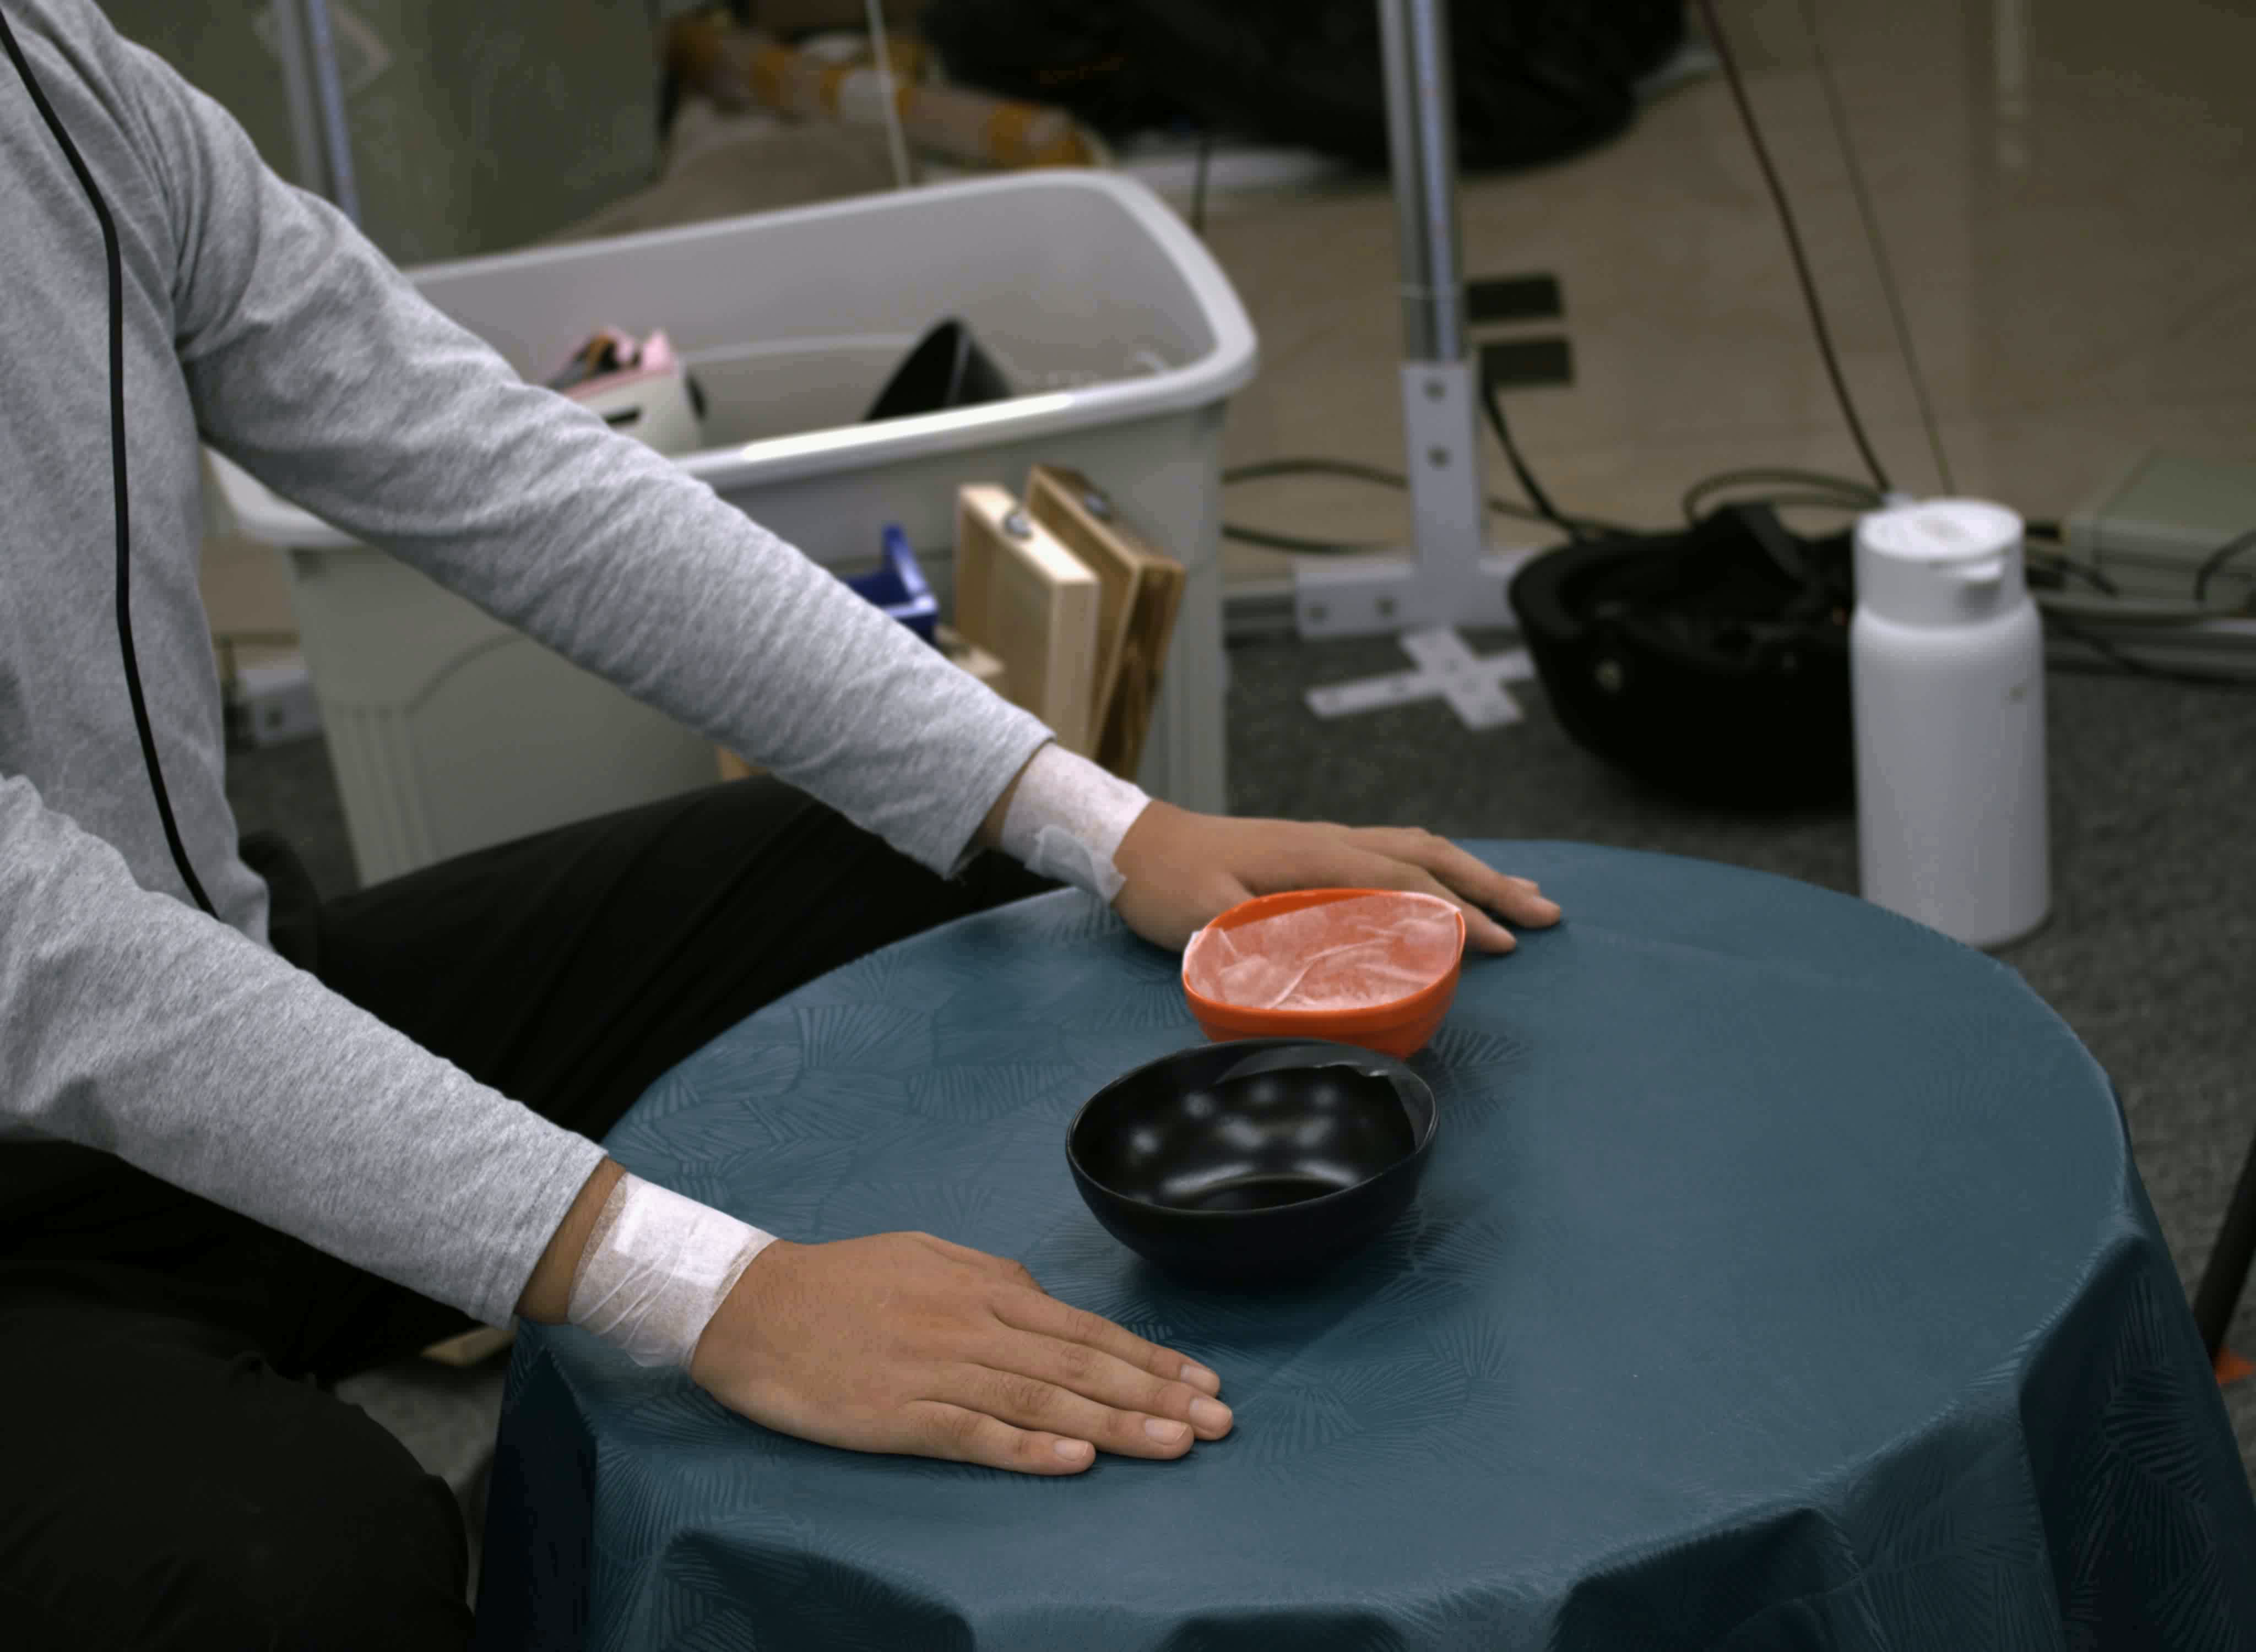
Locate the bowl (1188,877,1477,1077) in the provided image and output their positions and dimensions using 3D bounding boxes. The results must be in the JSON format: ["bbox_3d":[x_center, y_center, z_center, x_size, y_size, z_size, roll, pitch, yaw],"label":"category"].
[{"bbox_3d":[0.081,0.067,2.221,0.119,0.052,0.117,-3,27,2],"label":"bowl"}]

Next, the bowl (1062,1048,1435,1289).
[{"bbox_3d":[0.048,0.134,2.099,0.140,0.050,0.138,-8,22,4],"label":"bowl"}]
